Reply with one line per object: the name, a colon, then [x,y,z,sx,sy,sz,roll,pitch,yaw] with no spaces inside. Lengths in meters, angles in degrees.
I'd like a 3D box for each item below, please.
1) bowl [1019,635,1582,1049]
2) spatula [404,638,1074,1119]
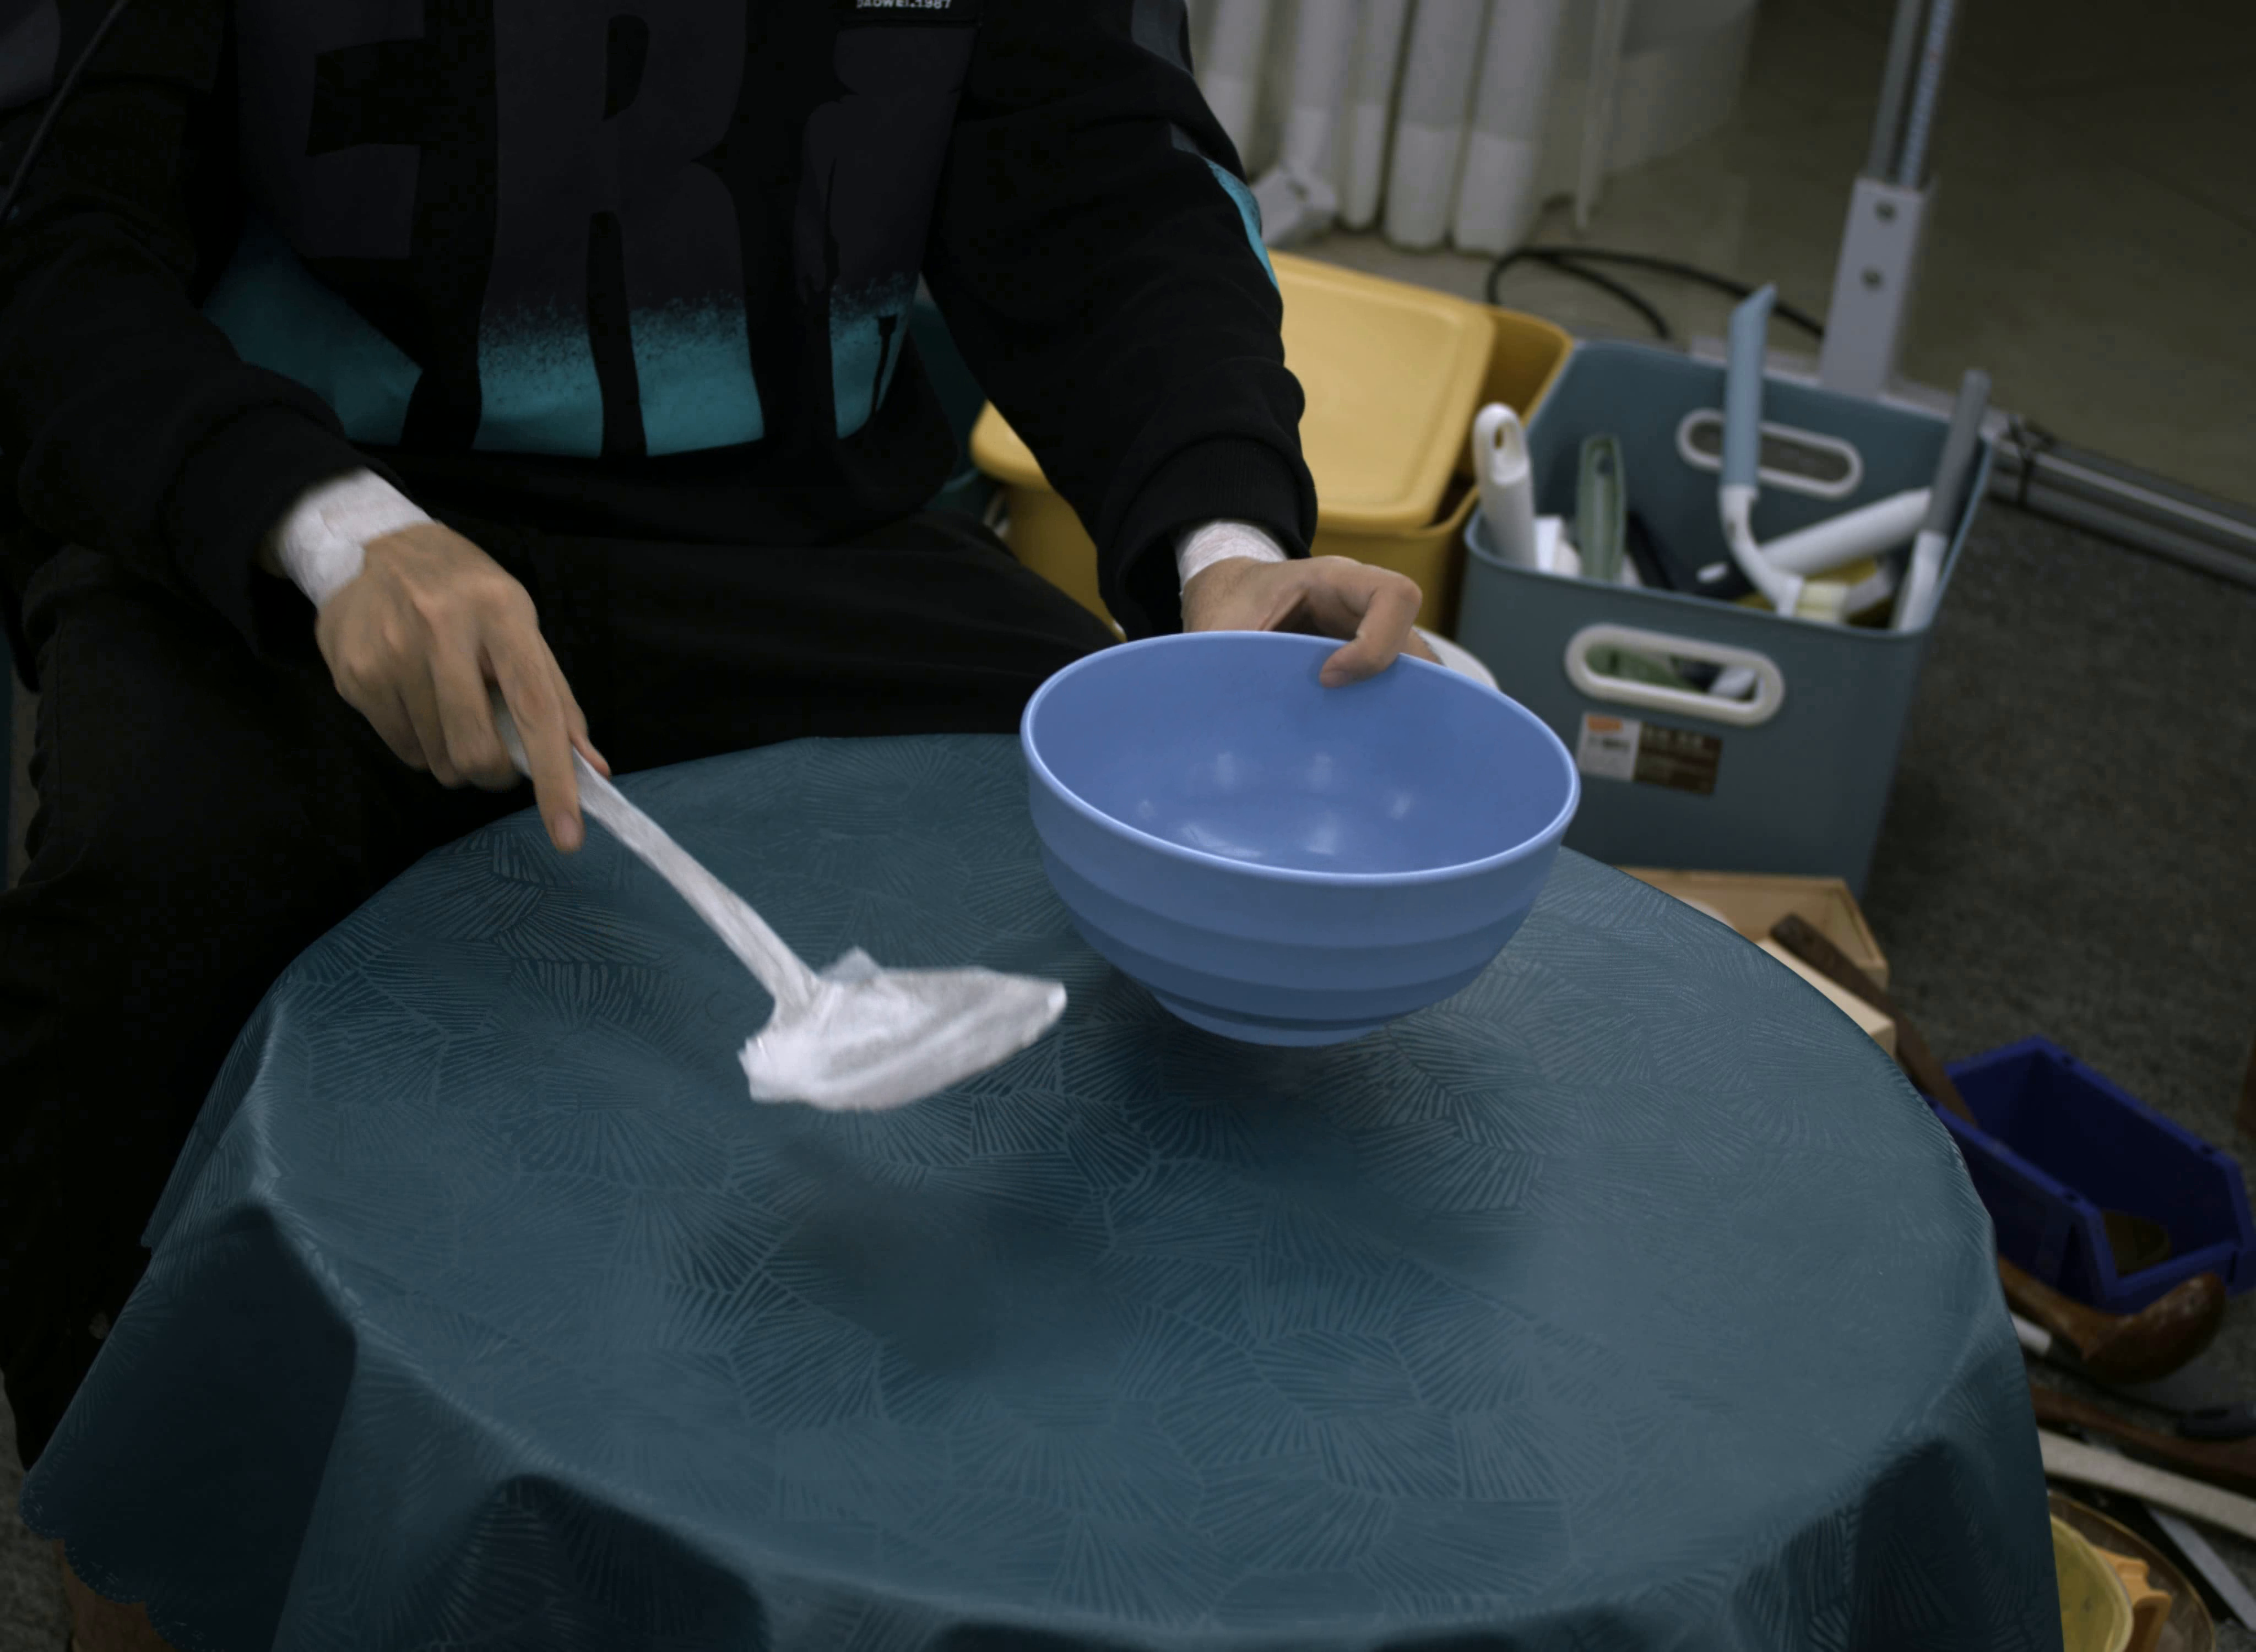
bowl: [0.056,0.015,1.865,0.196,0.095,0.197,4,26,-2]
spatula: [-0.155,0.007,1.814,0.098,0.044,0.368,-26,44,-27]
